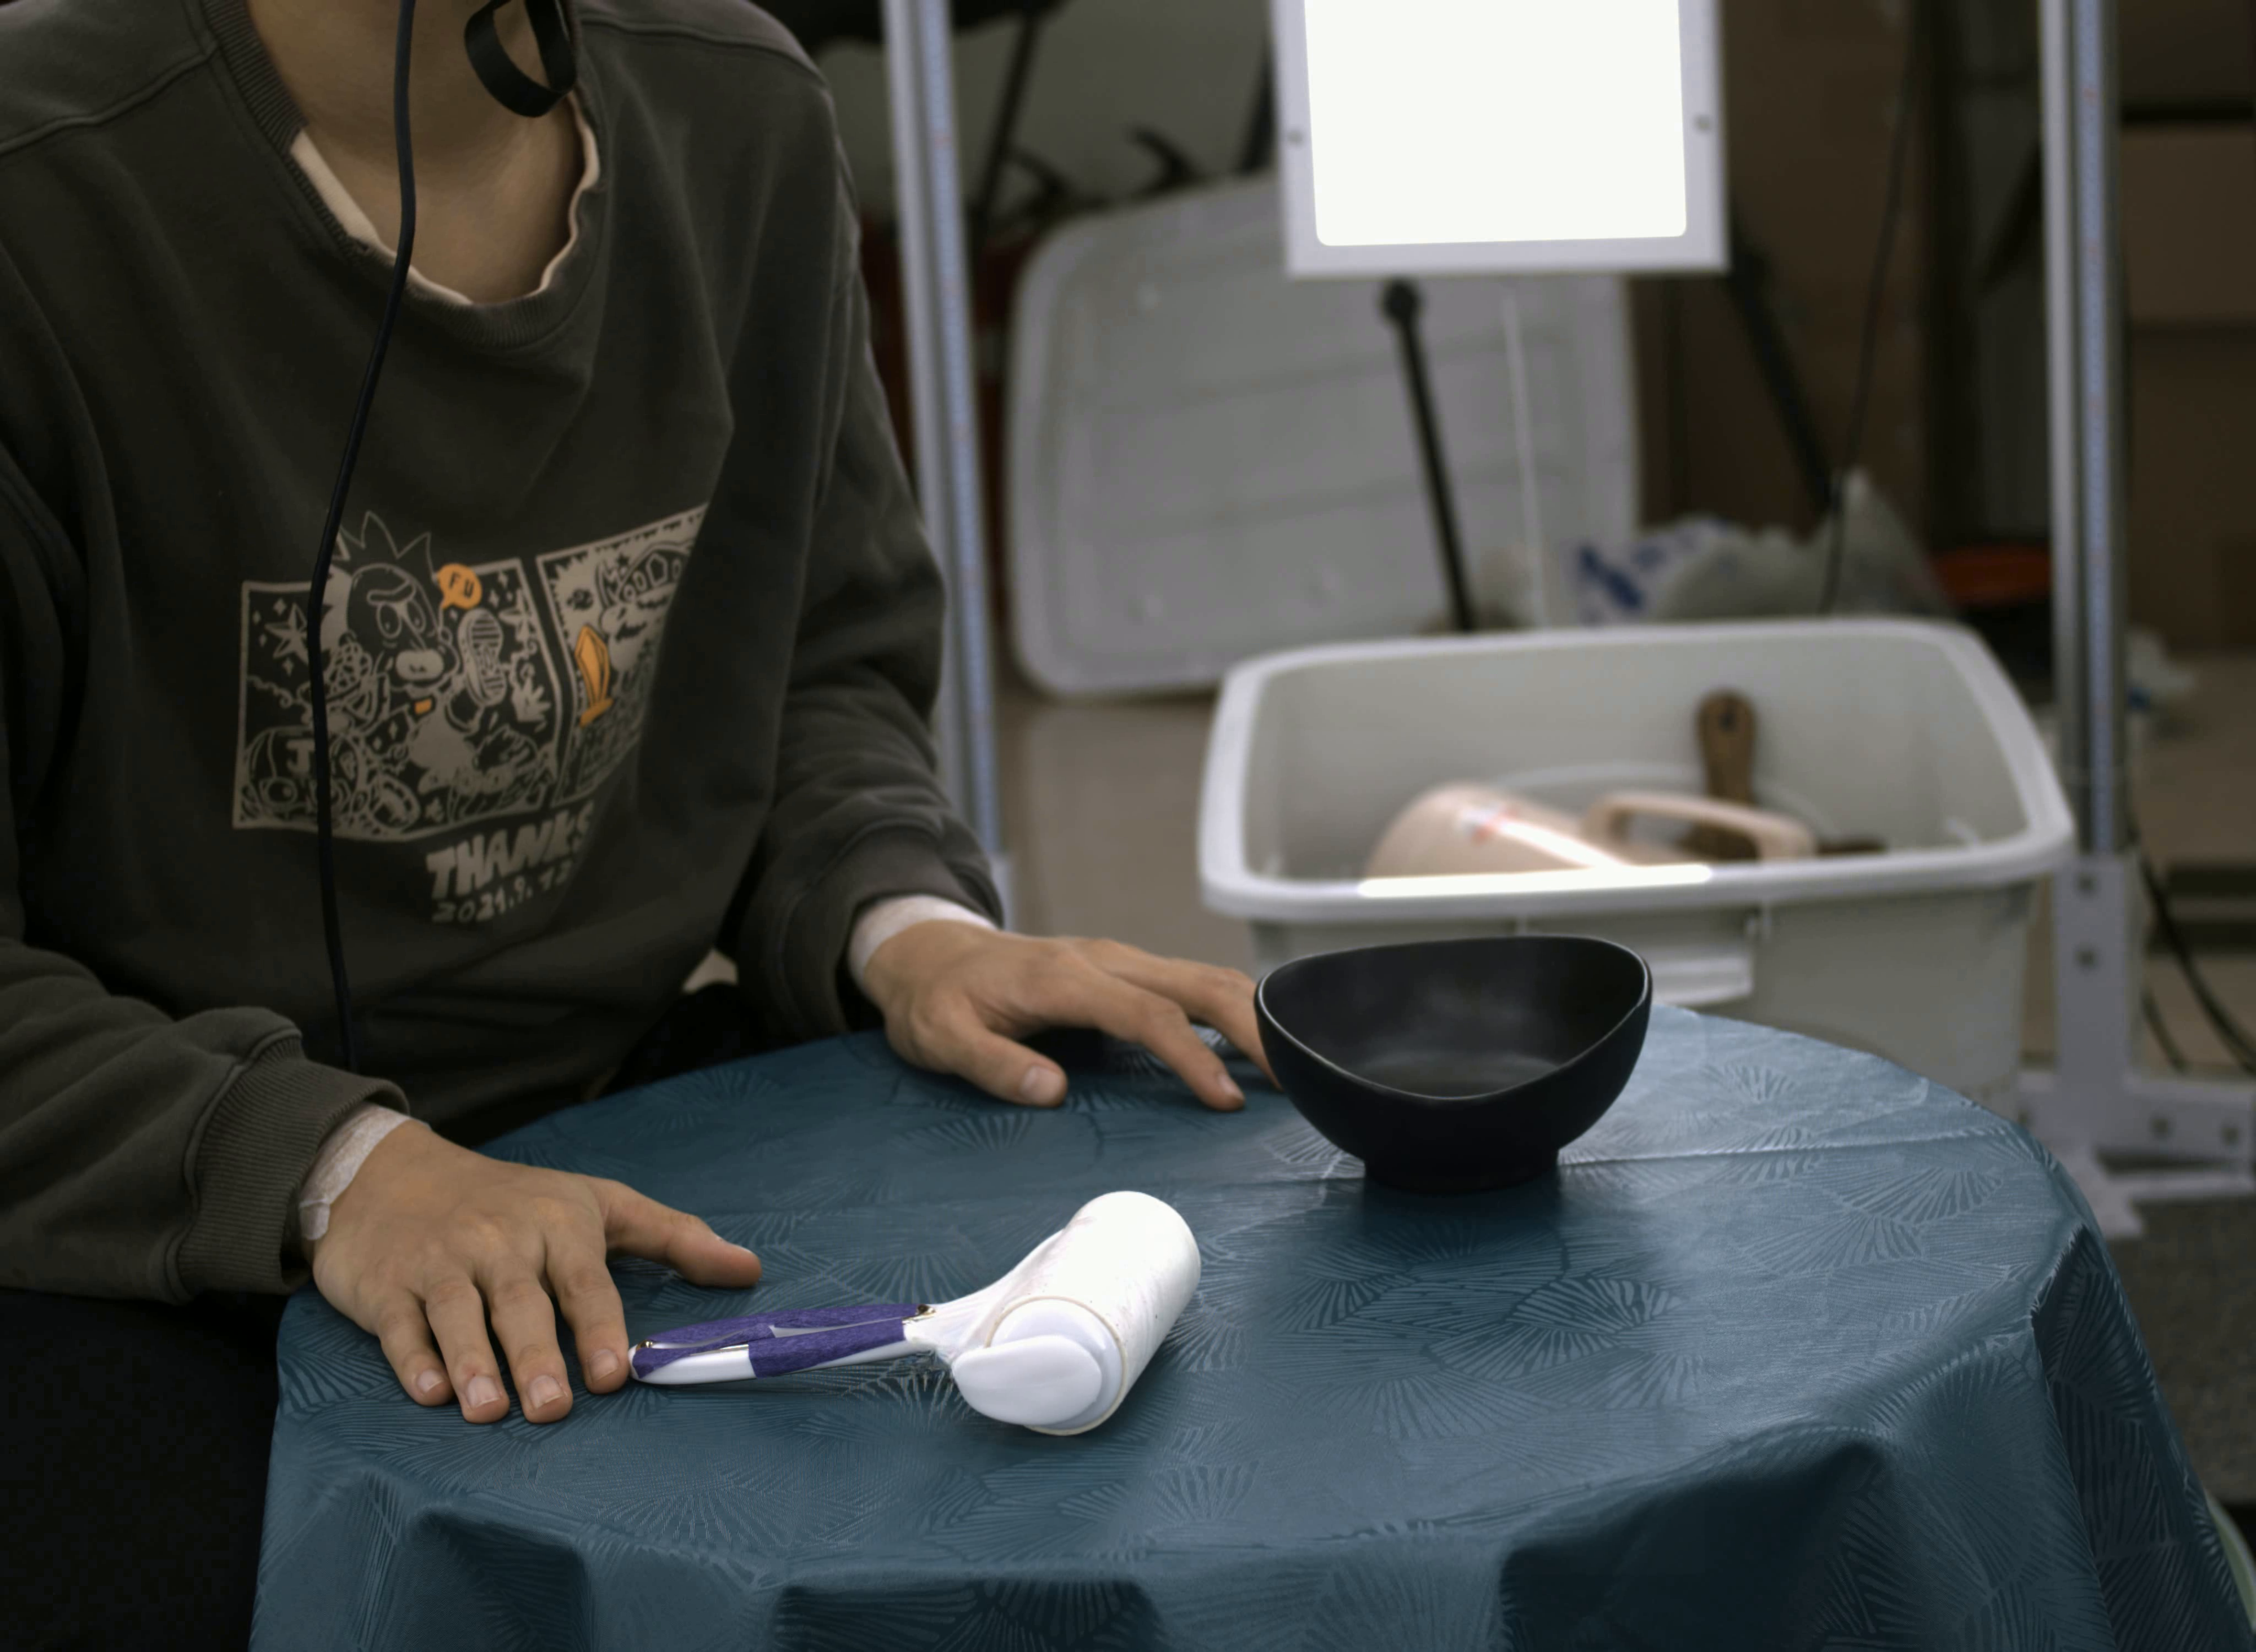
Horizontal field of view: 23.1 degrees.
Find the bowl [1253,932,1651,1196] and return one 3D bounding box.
[{"bbox_3d":[0.114,0.085,1.889,0.137,0.067,0.170,-6,16,1],"label":"bowl"}]

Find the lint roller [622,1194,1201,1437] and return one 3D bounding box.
[{"bbox_3d":[-0.073,0.150,1.729,0.183,0.050,0.131,2,16,18],"label":"lint roller"}]
